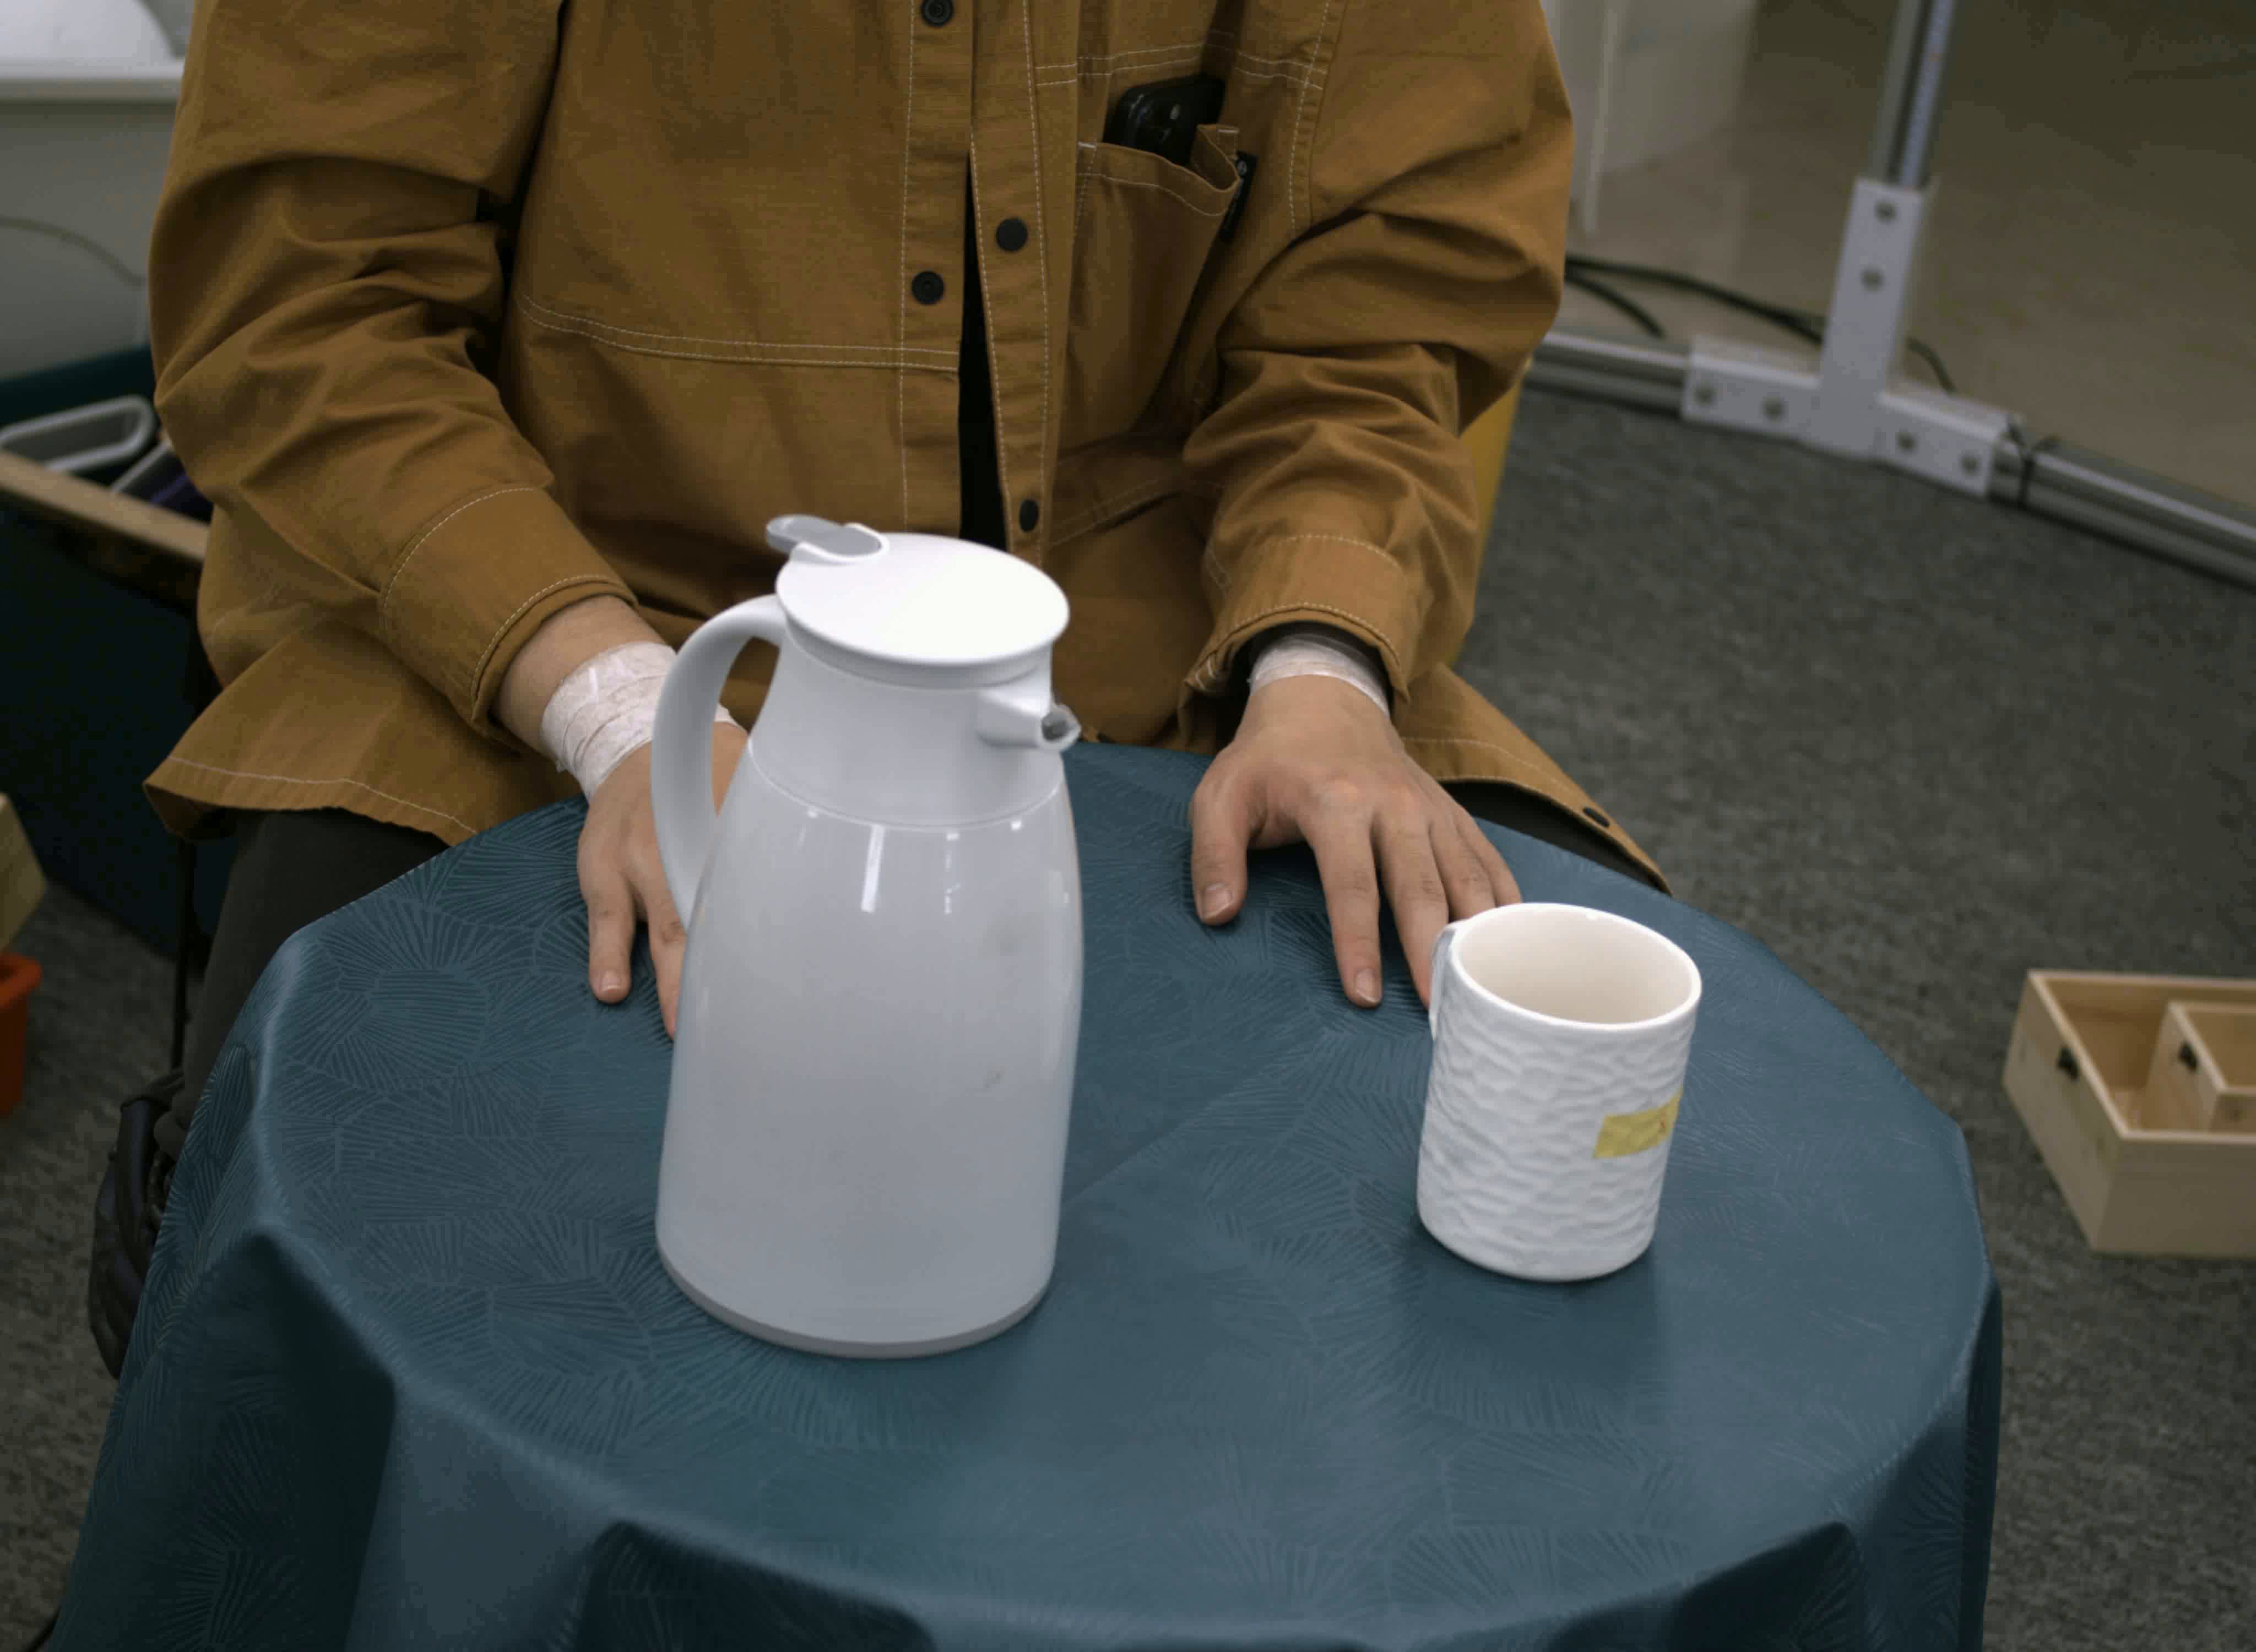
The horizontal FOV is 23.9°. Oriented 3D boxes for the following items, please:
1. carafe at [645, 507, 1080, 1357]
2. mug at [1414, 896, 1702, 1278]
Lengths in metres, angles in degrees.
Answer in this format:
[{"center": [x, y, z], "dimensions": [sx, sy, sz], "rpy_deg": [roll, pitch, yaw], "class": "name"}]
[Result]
[{"center": [-0.093, 0.024, 1.708], "dimensions": [0.169, 0.248, 0.132], "rpy_deg": [26, 33, 34], "class": "carafe"}, {"center": [0.136, 0.081, 1.801], "dimensions": [0.084, 0.101, 0.119], "rpy_deg": [-9, 32, -26], "class": "mug"}]
